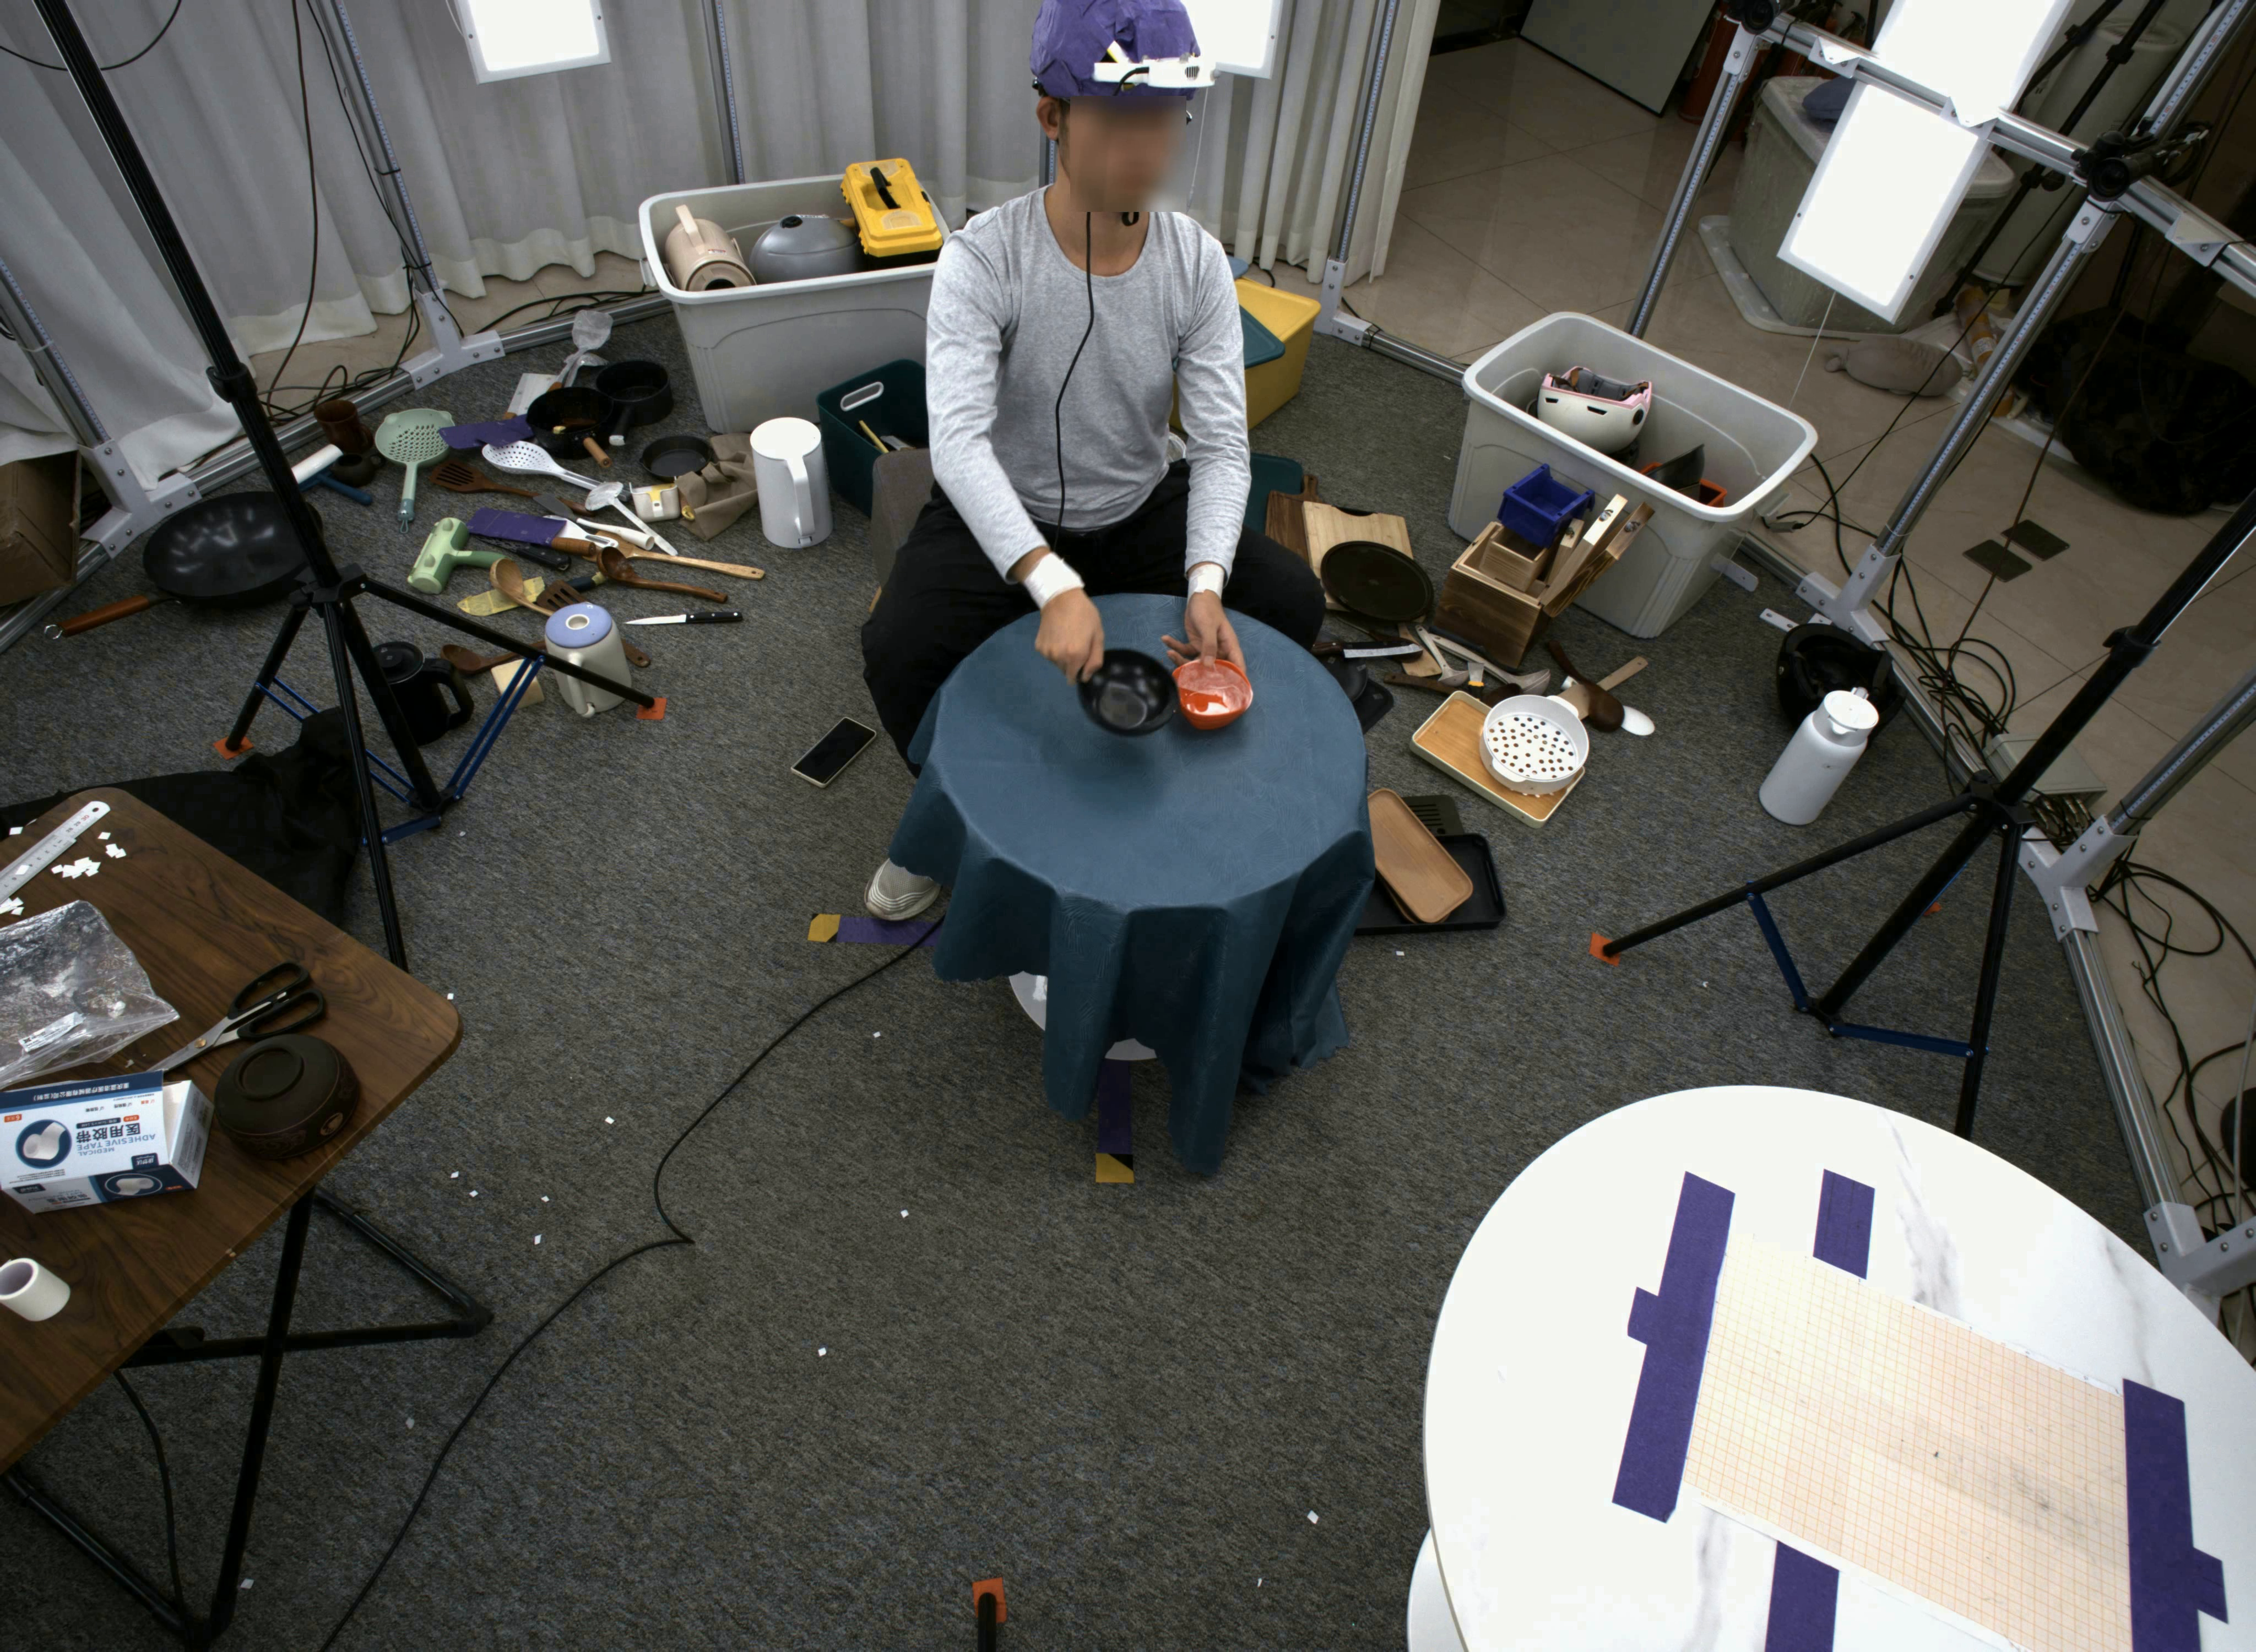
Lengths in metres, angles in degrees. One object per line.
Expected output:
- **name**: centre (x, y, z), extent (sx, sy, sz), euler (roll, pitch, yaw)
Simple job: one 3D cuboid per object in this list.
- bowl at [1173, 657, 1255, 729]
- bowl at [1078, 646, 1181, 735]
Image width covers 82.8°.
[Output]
- **bowl**: centre (0.118, -0.179, 1.795), extent (0.119, 0.050, 0.122), euler (2, 52, -3)
- **bowl**: centre (-0.003, -0.171, 1.702), extent (0.139, 0.049, 0.143), euler (8, 51, -11)
